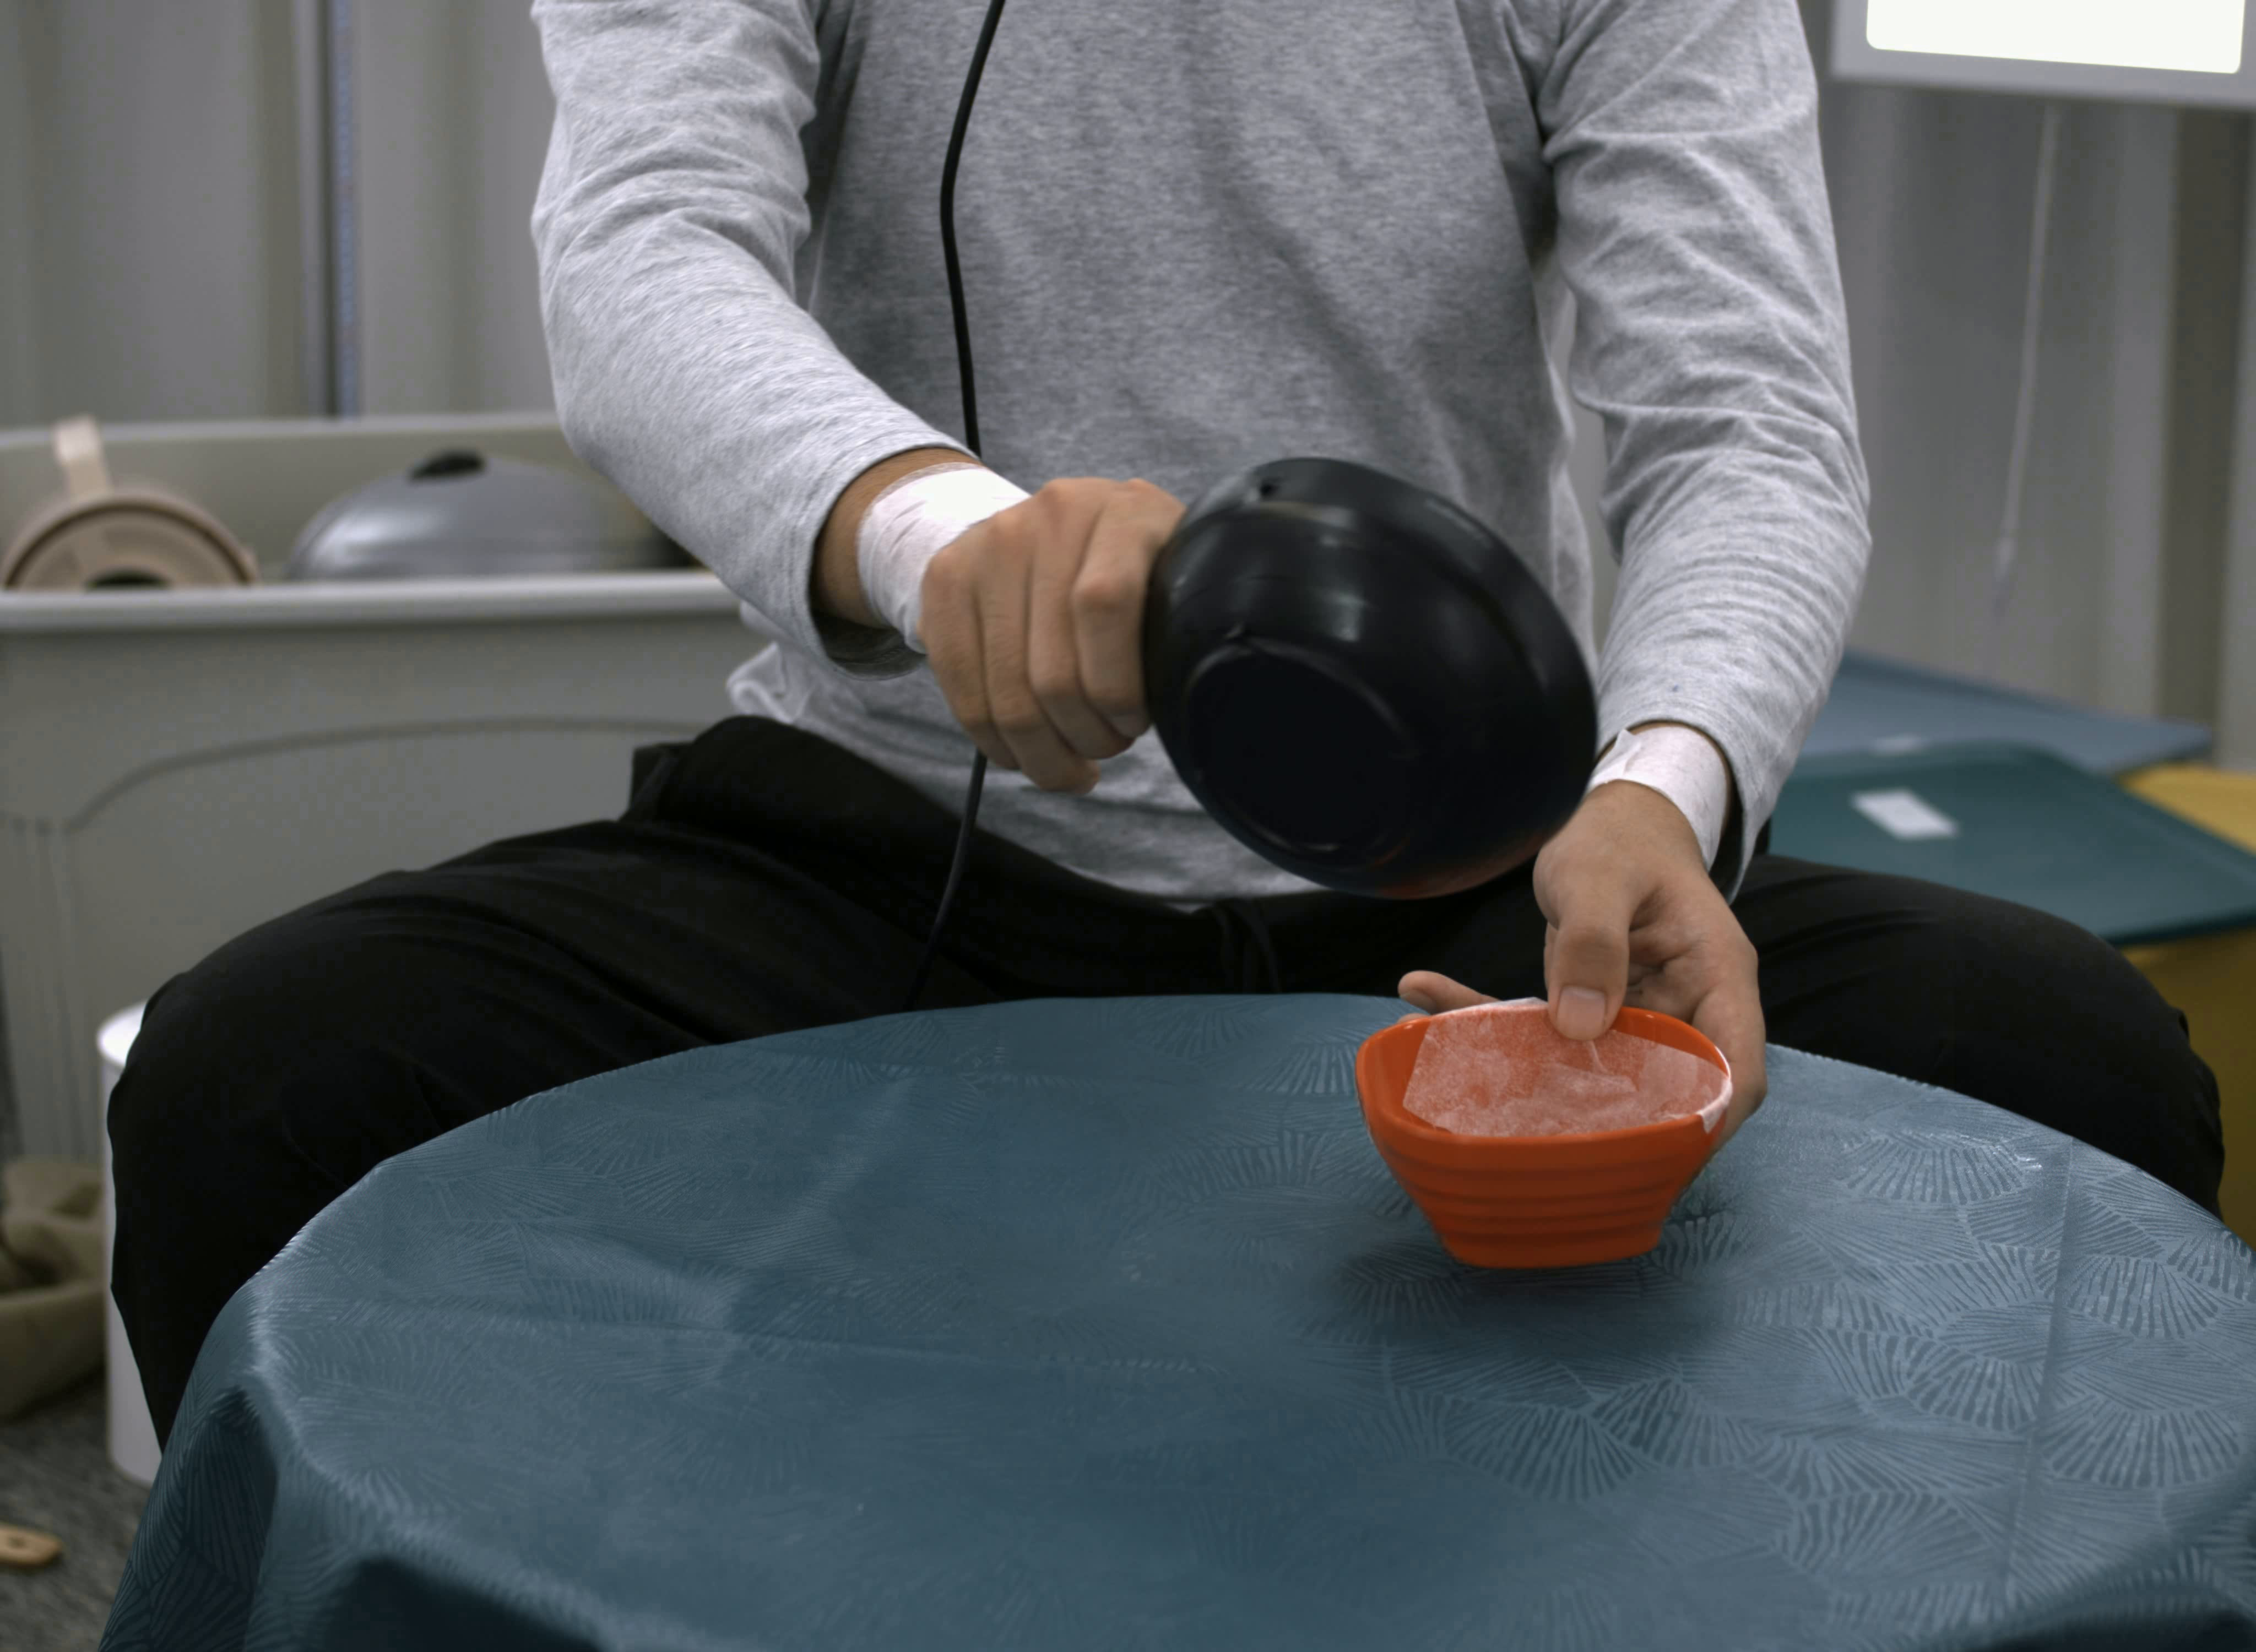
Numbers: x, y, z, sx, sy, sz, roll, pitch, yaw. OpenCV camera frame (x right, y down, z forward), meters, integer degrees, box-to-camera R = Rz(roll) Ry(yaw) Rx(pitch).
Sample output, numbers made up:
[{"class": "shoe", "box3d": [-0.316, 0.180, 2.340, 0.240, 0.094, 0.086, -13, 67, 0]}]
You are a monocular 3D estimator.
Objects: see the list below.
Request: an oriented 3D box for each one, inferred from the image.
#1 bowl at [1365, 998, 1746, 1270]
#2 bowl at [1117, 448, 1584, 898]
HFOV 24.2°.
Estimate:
[{"class": "bowl", "box3d": [0.126, 0.094, 1.556, 0.118, 0.052, 0.118, -2, 20, 1]}, {"class": "bowl", "box3d": [0.053, -0.032, 1.448, 0.138, 0.142, 0.049, 9, 38, 26]}]
